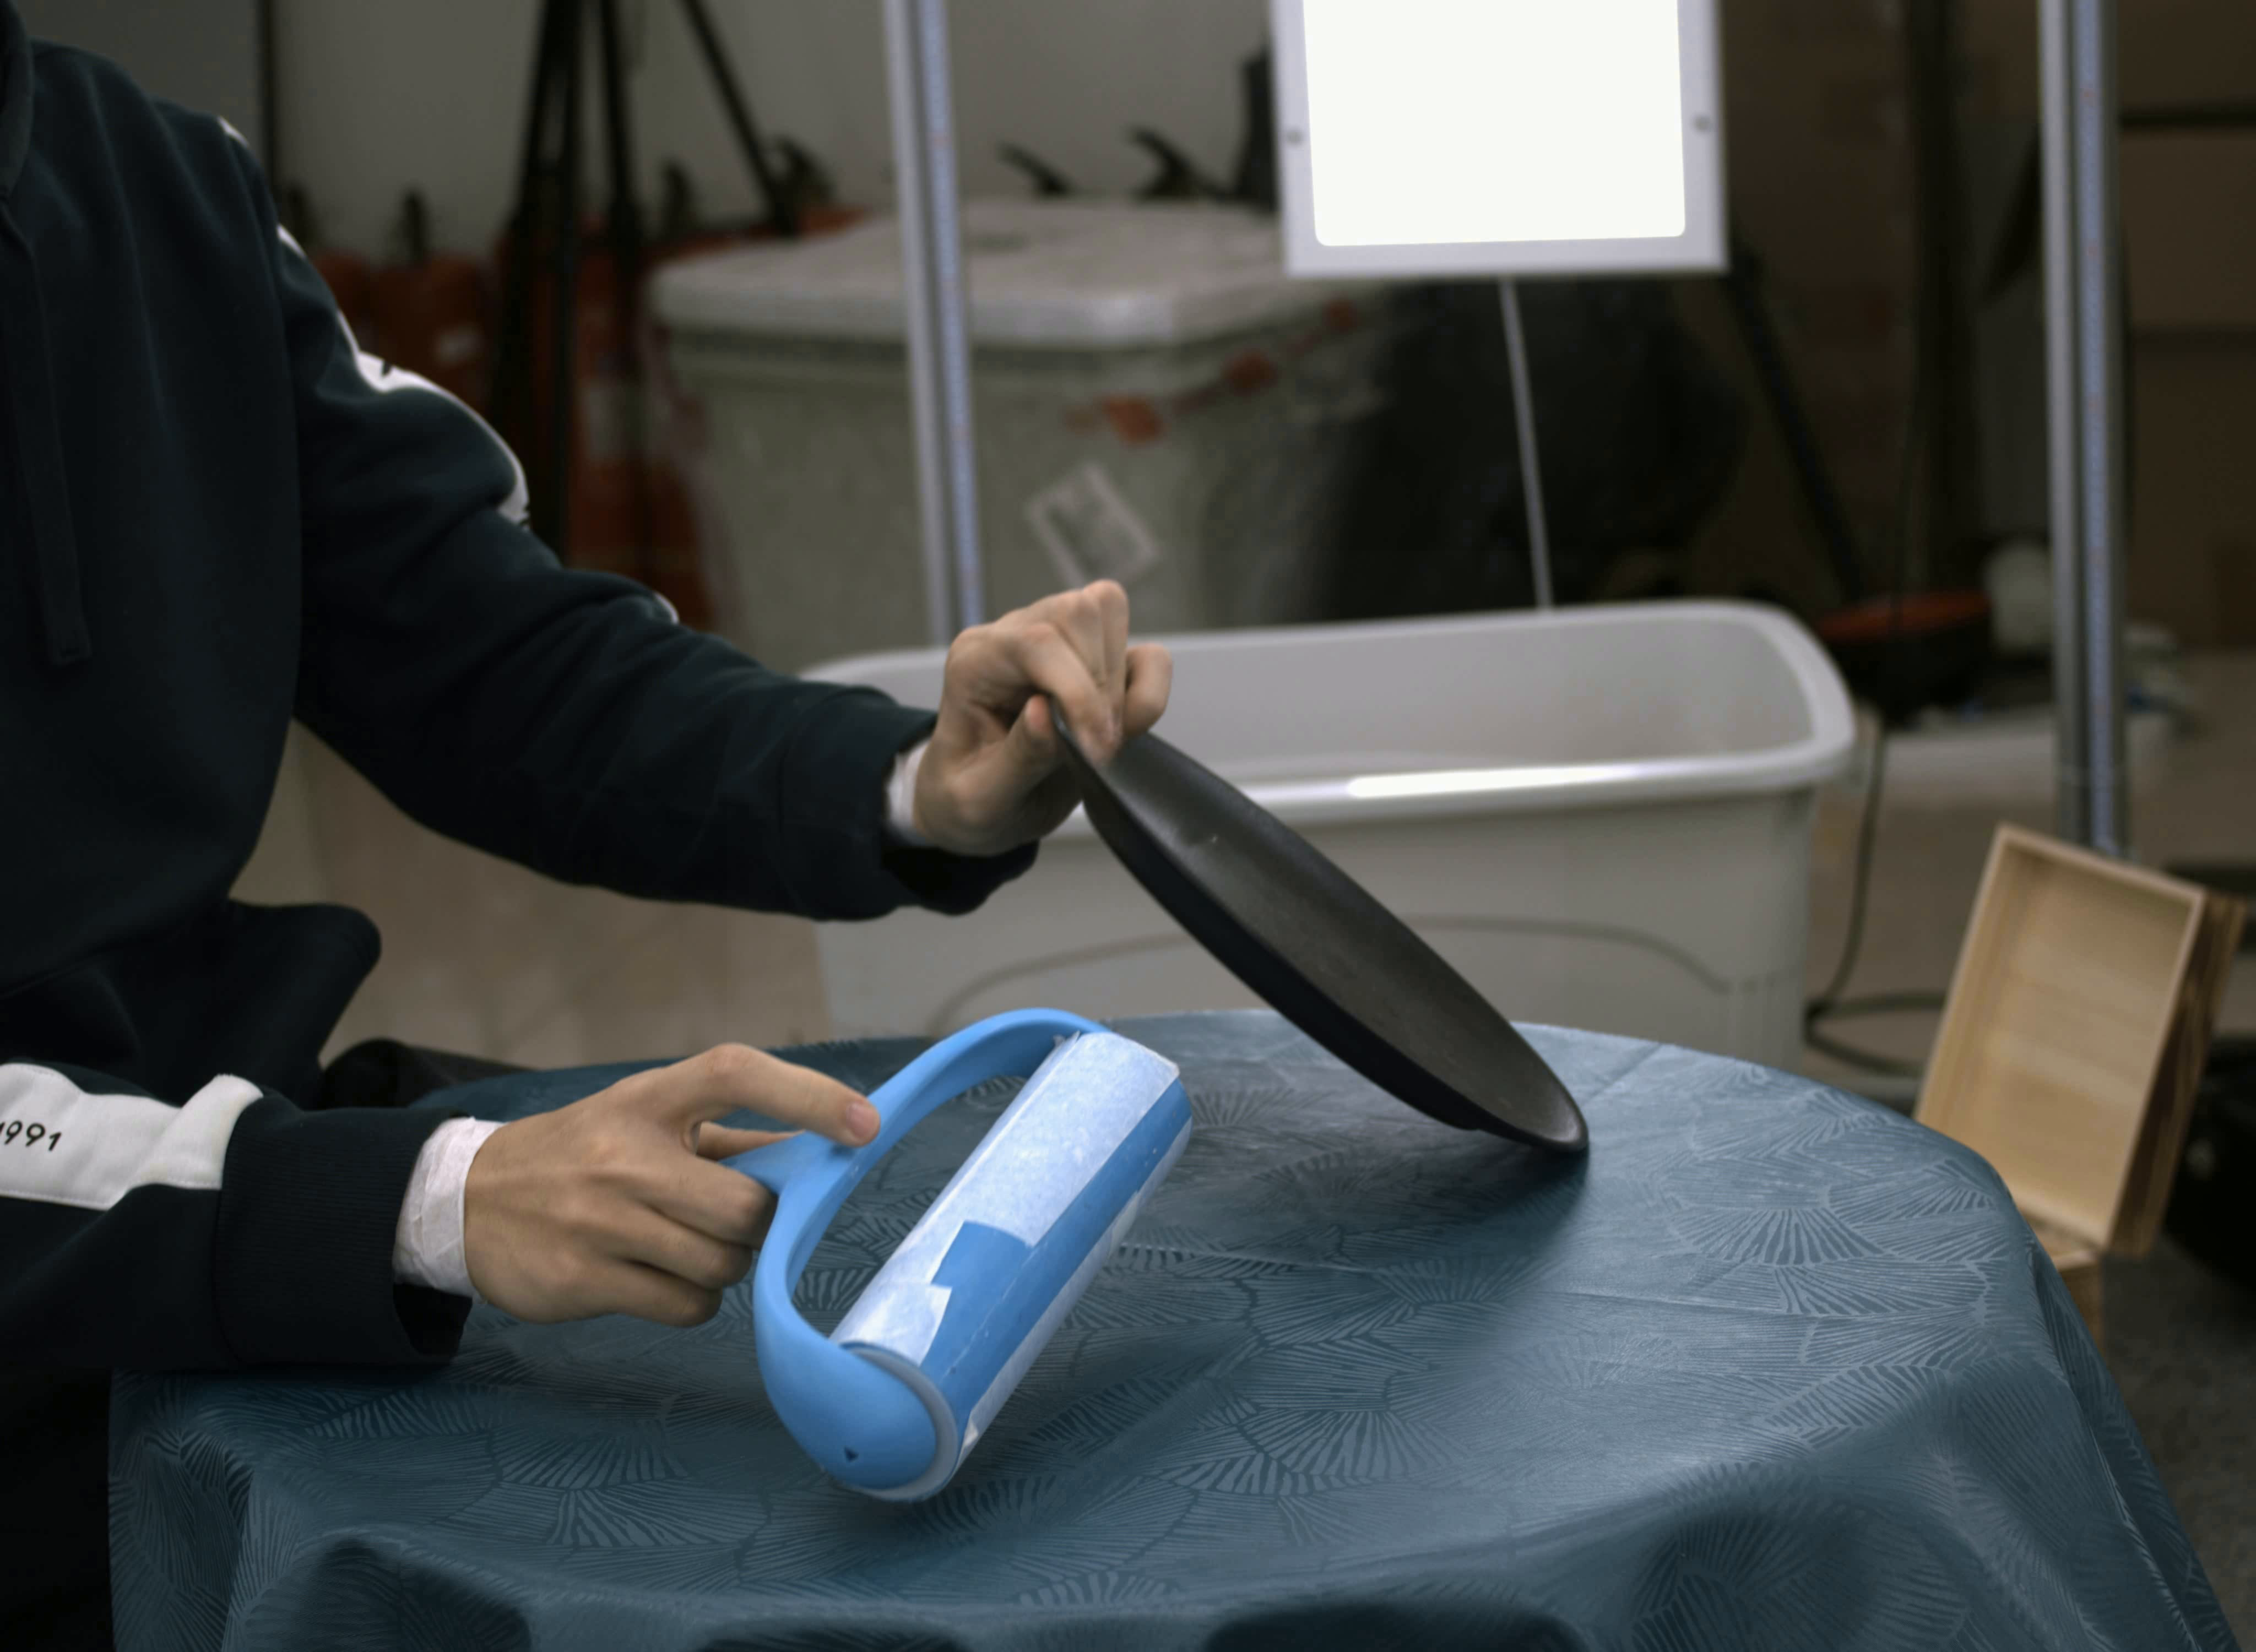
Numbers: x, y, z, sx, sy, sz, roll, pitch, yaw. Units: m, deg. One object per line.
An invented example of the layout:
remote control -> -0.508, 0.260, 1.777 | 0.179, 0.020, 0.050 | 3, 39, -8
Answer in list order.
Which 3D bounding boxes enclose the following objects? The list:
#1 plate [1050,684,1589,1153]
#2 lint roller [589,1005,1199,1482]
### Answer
plate -> 0.061, 0.037, 1.905 | 0.243, 0.023, 0.244 | 39, 8, -9
lint roller -> -0.091, 0.127, 1.691 | 0.183, 0.068, 0.225 | -2, 26, 22
